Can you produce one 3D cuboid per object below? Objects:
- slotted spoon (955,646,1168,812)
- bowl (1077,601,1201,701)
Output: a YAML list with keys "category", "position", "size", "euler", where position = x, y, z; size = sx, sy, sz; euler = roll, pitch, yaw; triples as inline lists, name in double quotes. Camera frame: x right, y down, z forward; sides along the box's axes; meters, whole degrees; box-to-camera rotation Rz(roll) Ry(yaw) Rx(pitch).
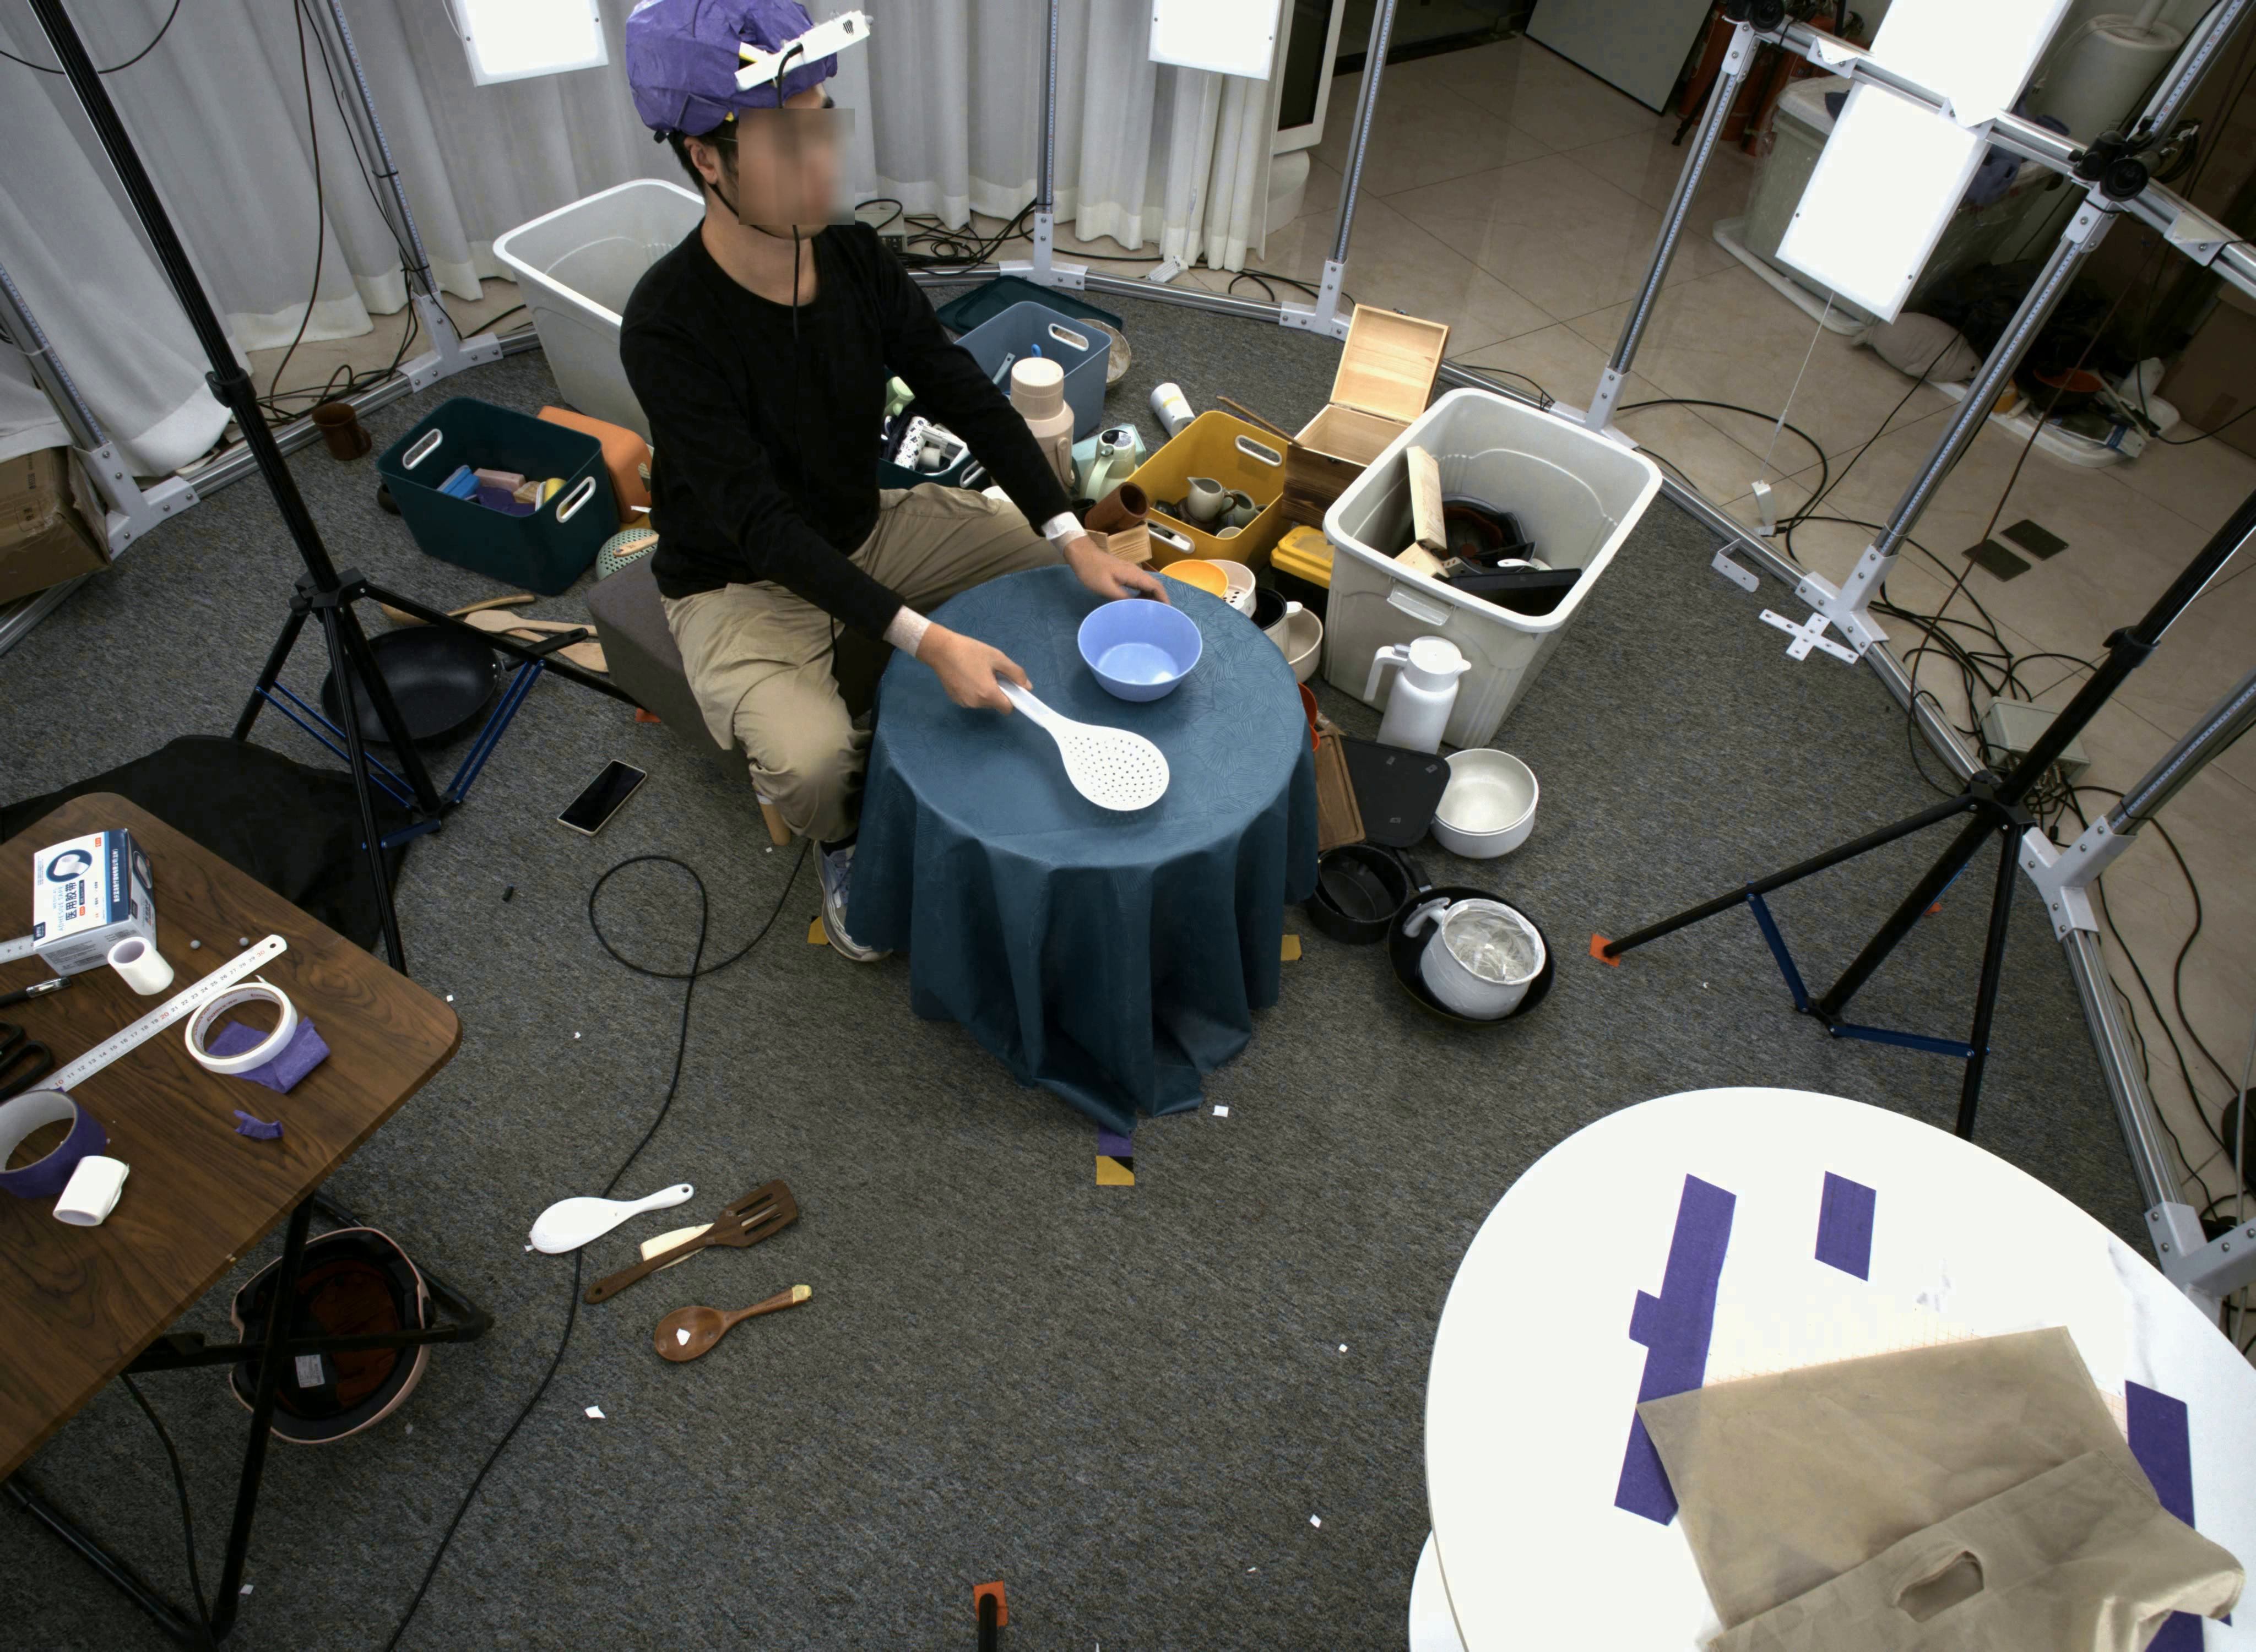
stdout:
- category: "slotted spoon"
  position: [-0.098, -0.135, 1.718]
  size: [0.352, 0.045, 0.137]
  euler: [40, 56, 12]
- category: "bowl"
  position: [0.014, -0.242, 1.836]
  size: [0.176, 0.068, 0.180]
  euler: [1, 48, -2]
